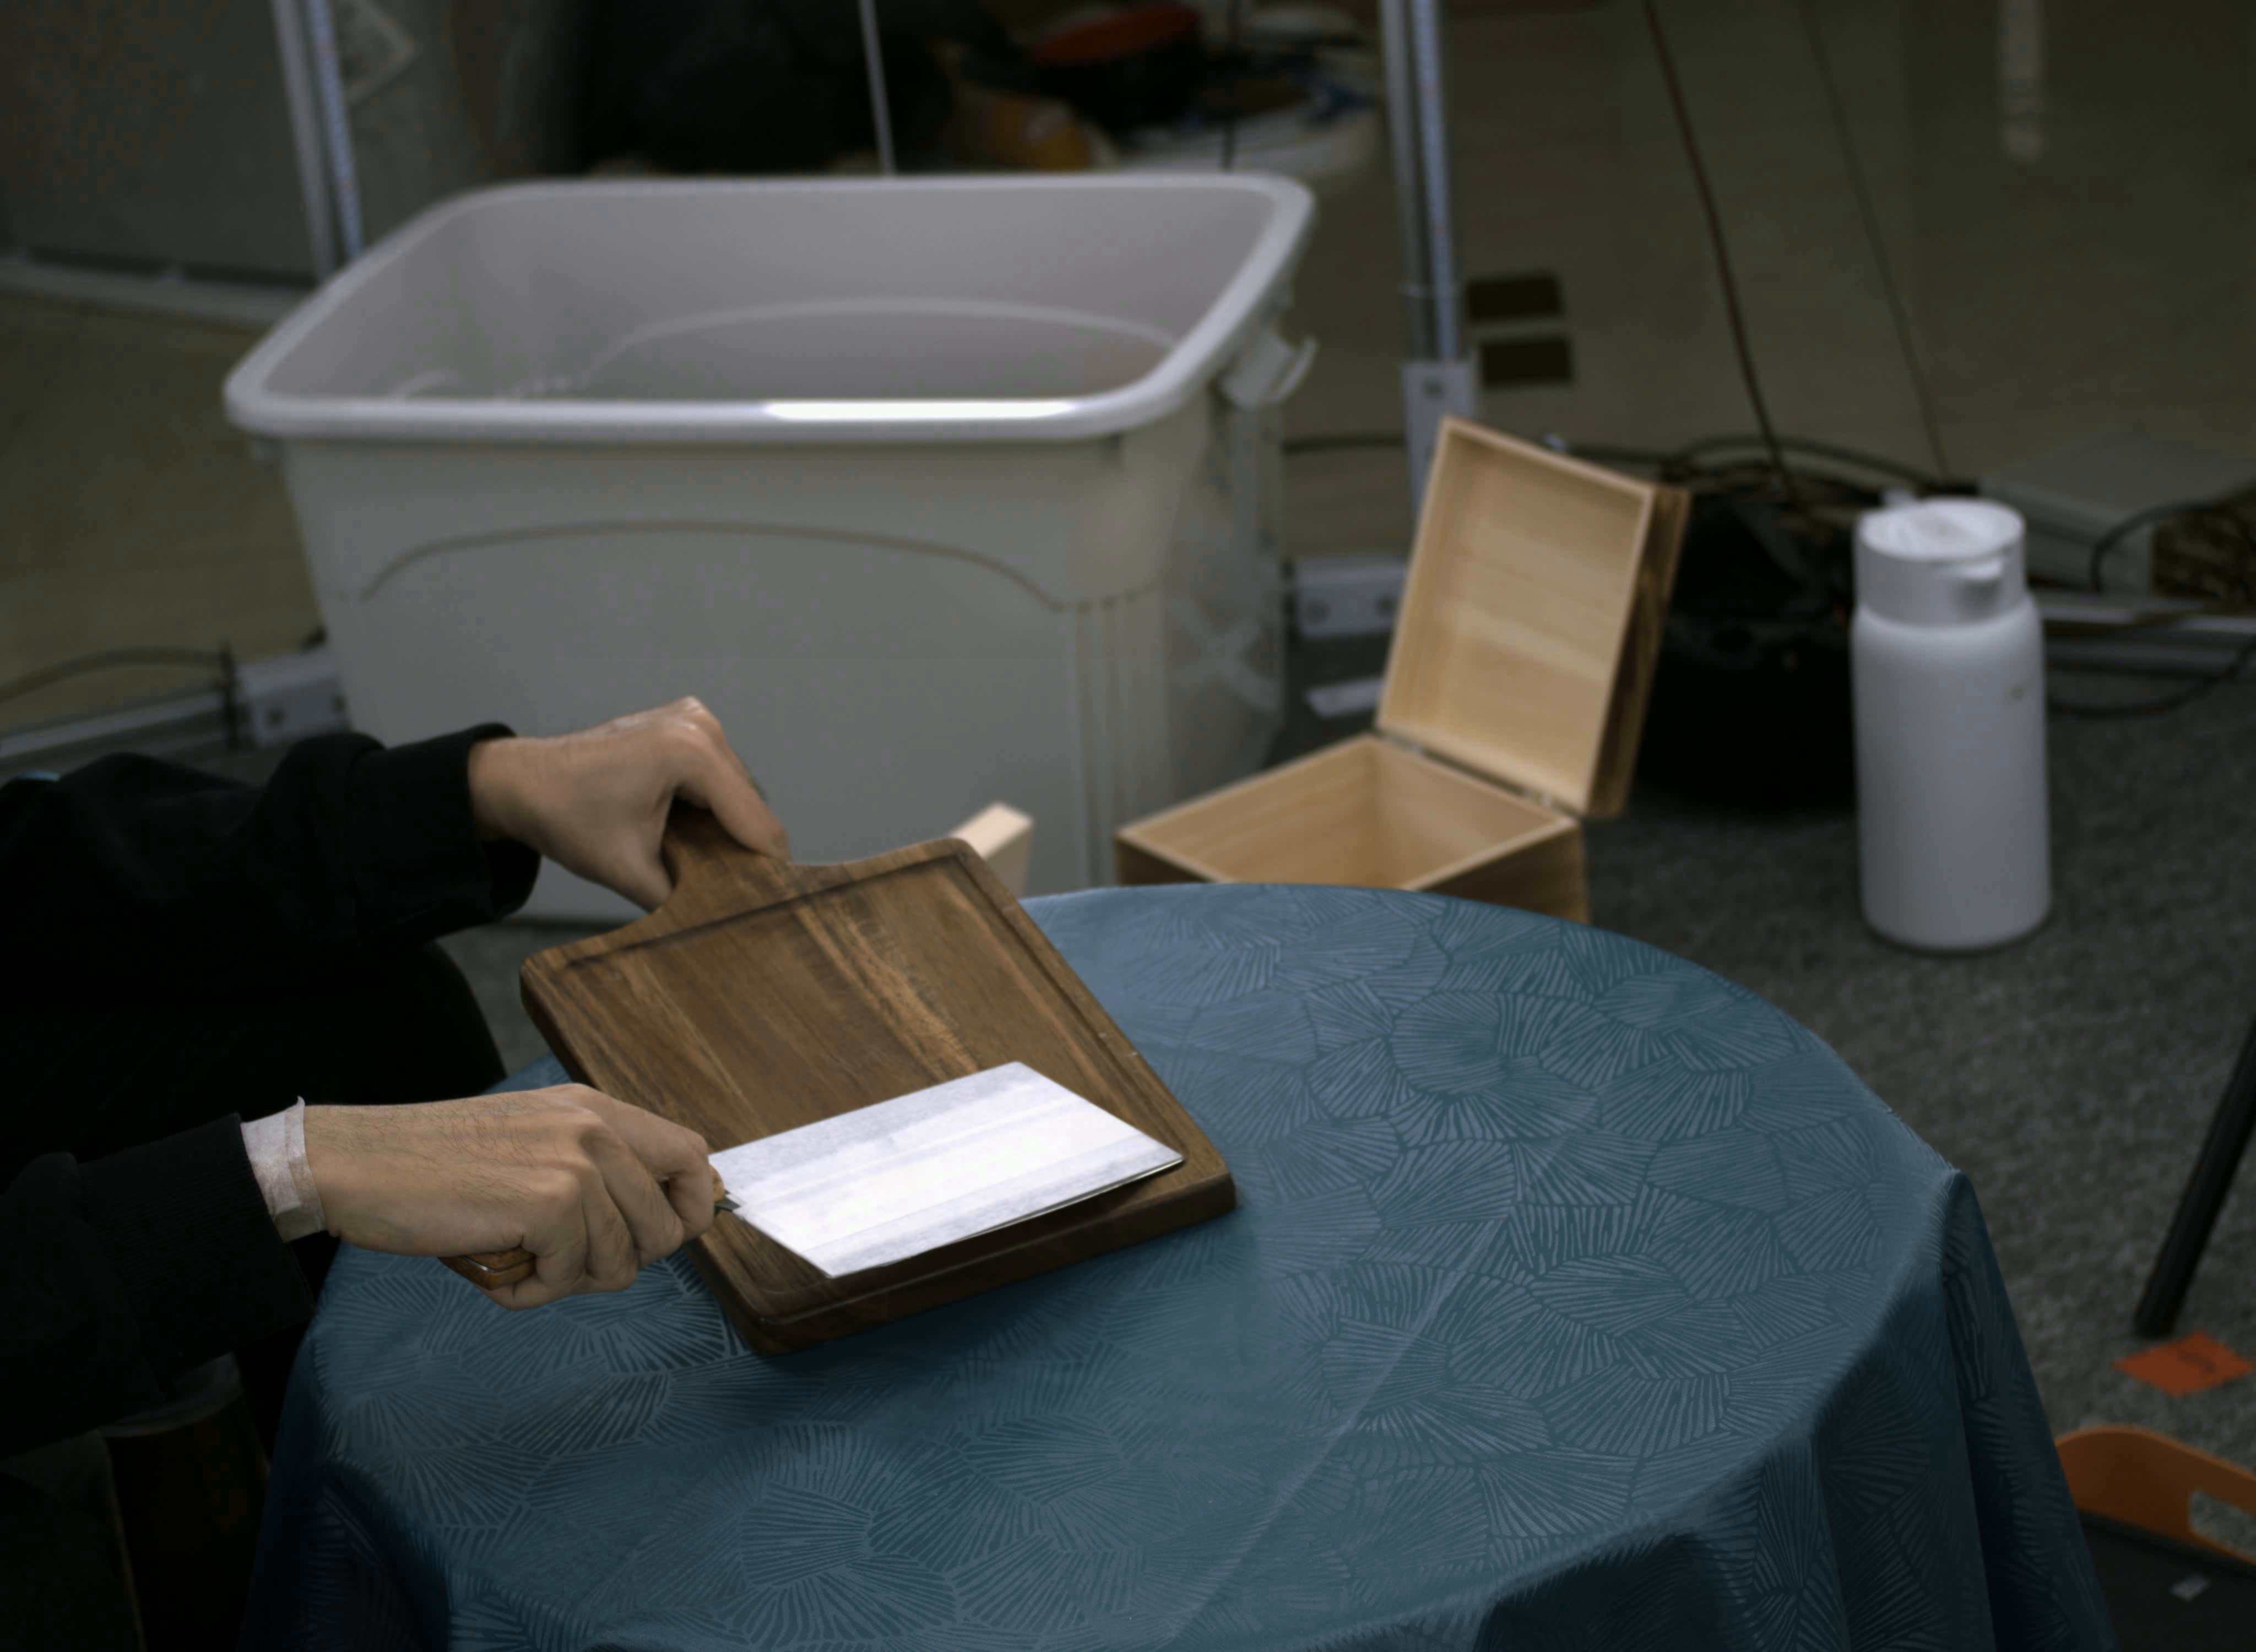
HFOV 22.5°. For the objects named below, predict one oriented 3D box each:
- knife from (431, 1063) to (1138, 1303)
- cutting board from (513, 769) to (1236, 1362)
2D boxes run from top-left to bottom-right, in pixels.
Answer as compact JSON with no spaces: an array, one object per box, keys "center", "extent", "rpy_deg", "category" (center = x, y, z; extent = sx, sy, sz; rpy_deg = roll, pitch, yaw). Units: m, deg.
[{"center":[-0.112,0.134,2.040],"extent":[0.092,0.021,0.304],"rpy_deg":[30,29,34],"category":"knife"},{"center":[-0.122,0.074,2.209],"extent":[0.200,0.023,0.347],"rpy_deg":[-17,39,-21],"category":"cutting board"}]
